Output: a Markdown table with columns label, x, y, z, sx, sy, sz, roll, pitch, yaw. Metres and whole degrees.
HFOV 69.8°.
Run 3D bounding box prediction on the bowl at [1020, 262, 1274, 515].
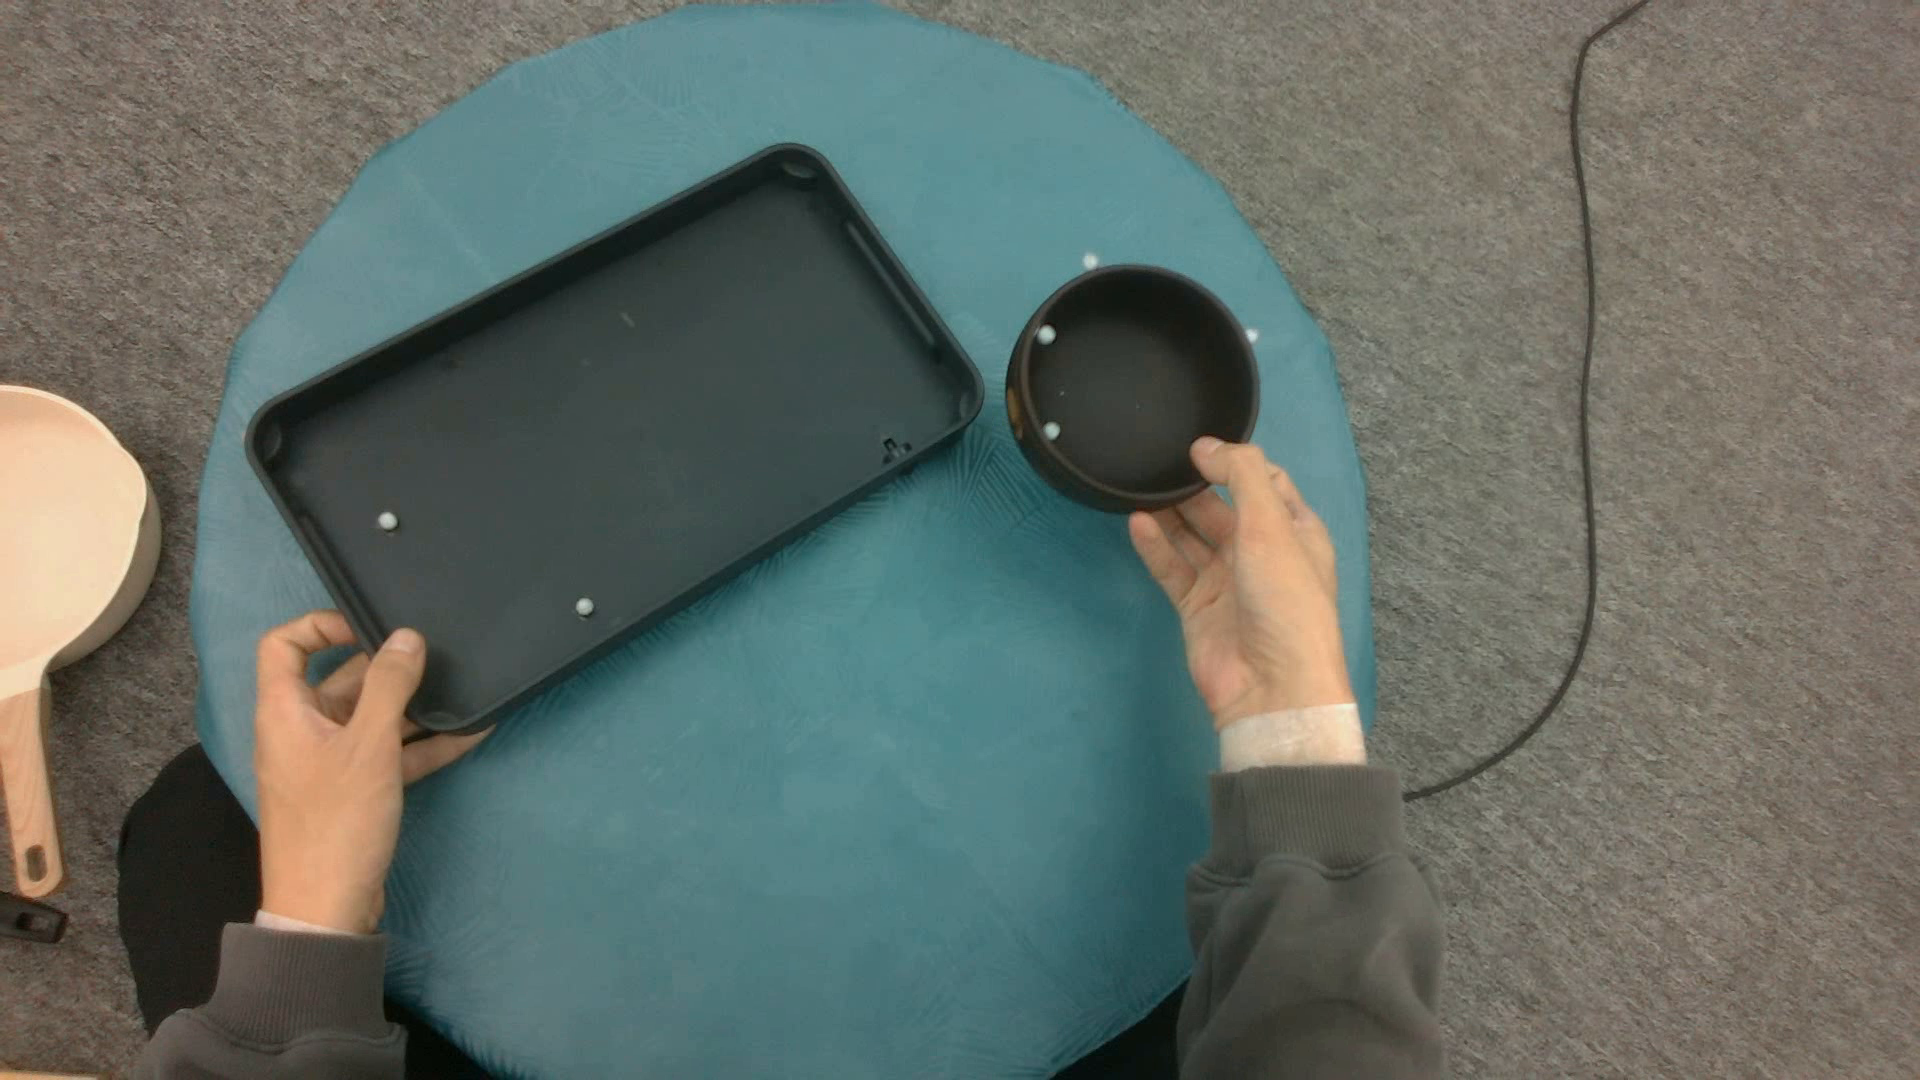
| label | x | y | z | sx | sy | sz | roll | pitch | yaw |
| --- | --- | --- | --- | --- | --- | --- | --- | --- | --- |
| bowl | 0.084 | -0.068 | 0.666 | 0.118 | 0.069 | 0.118 | 2 | 79 | -13 |

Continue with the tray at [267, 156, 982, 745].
| label | x | y | z | sx | sy | sz | roll | pitch | yaw |
| --- | --- | --- | --- | --- | --- | --- | --- | --- | --- |
| tray | -0.161 | -0.052 | 0.700 | 0.319 | 0.037 | 0.184 | -34 | 81 | -16 |
